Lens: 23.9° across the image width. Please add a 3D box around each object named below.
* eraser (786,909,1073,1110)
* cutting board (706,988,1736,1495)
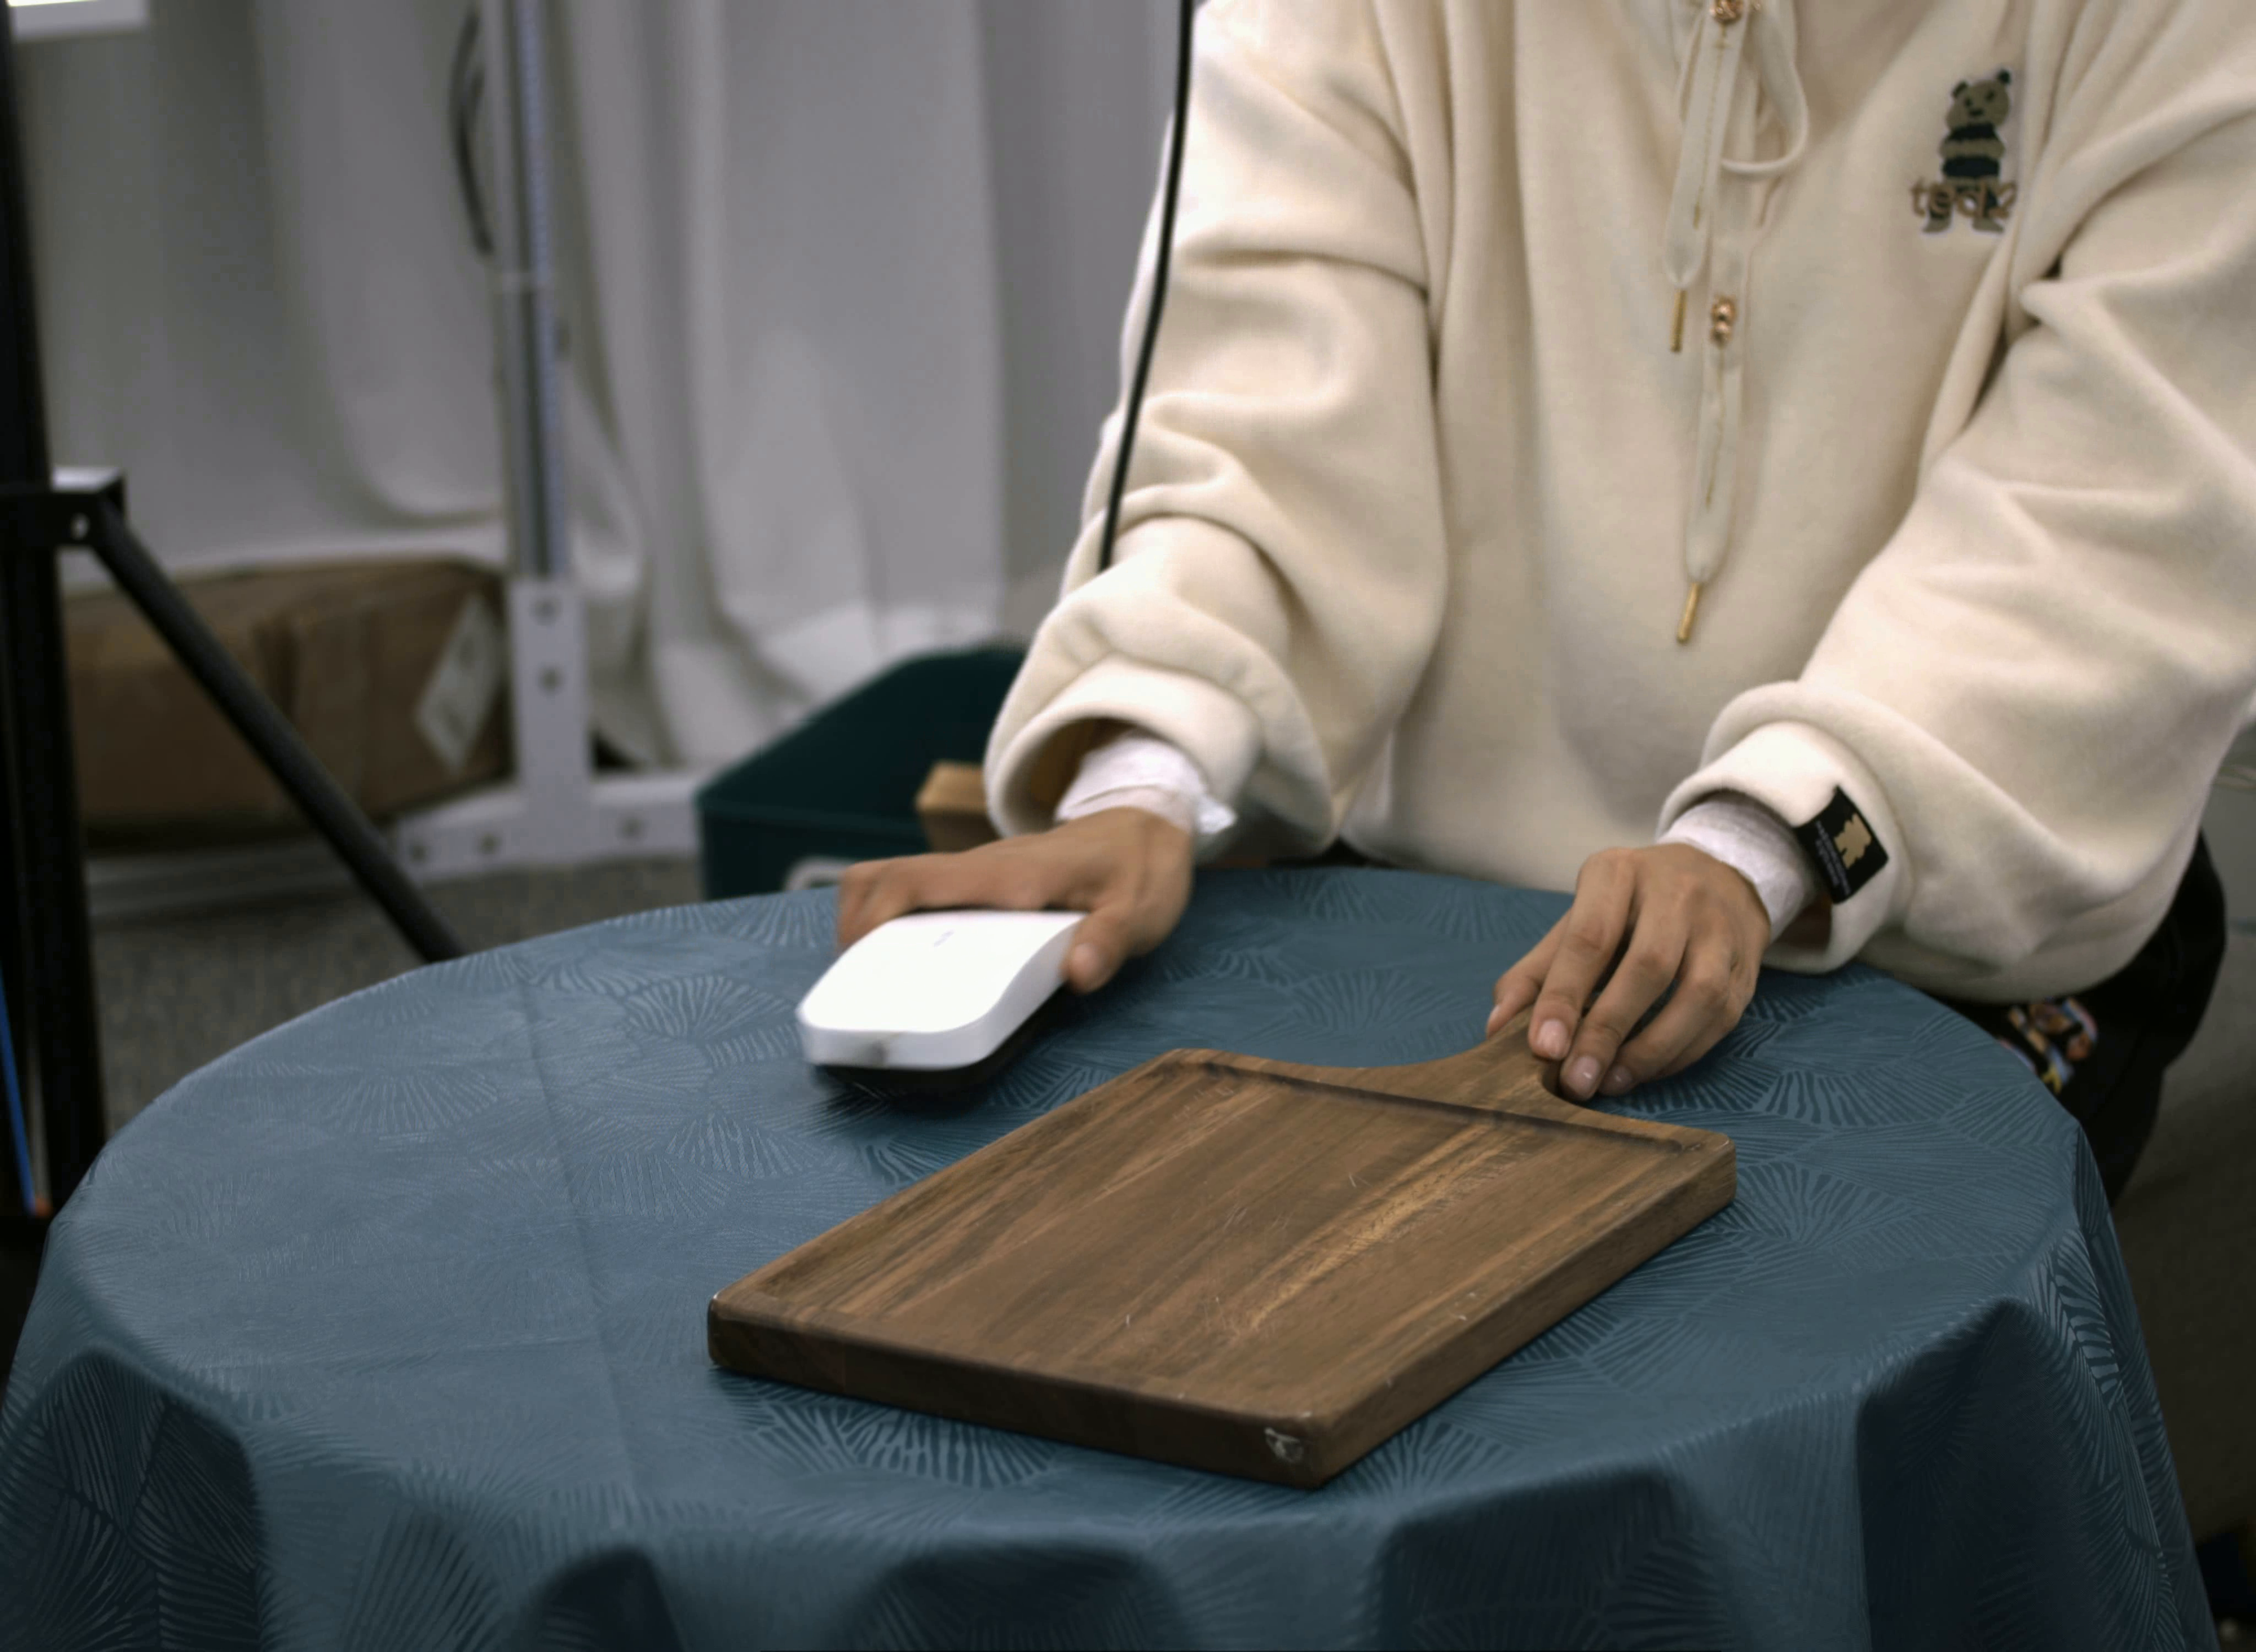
[{"bbox_3d":[-0.060,0.054,1.683,0.064,0.034,0.130,2,17,18],"label":"eraser"},{"bbox_3d":[0.057,0.105,1.518,0.205,0.023,0.345,8,19,31],"label":"cutting board"}]
